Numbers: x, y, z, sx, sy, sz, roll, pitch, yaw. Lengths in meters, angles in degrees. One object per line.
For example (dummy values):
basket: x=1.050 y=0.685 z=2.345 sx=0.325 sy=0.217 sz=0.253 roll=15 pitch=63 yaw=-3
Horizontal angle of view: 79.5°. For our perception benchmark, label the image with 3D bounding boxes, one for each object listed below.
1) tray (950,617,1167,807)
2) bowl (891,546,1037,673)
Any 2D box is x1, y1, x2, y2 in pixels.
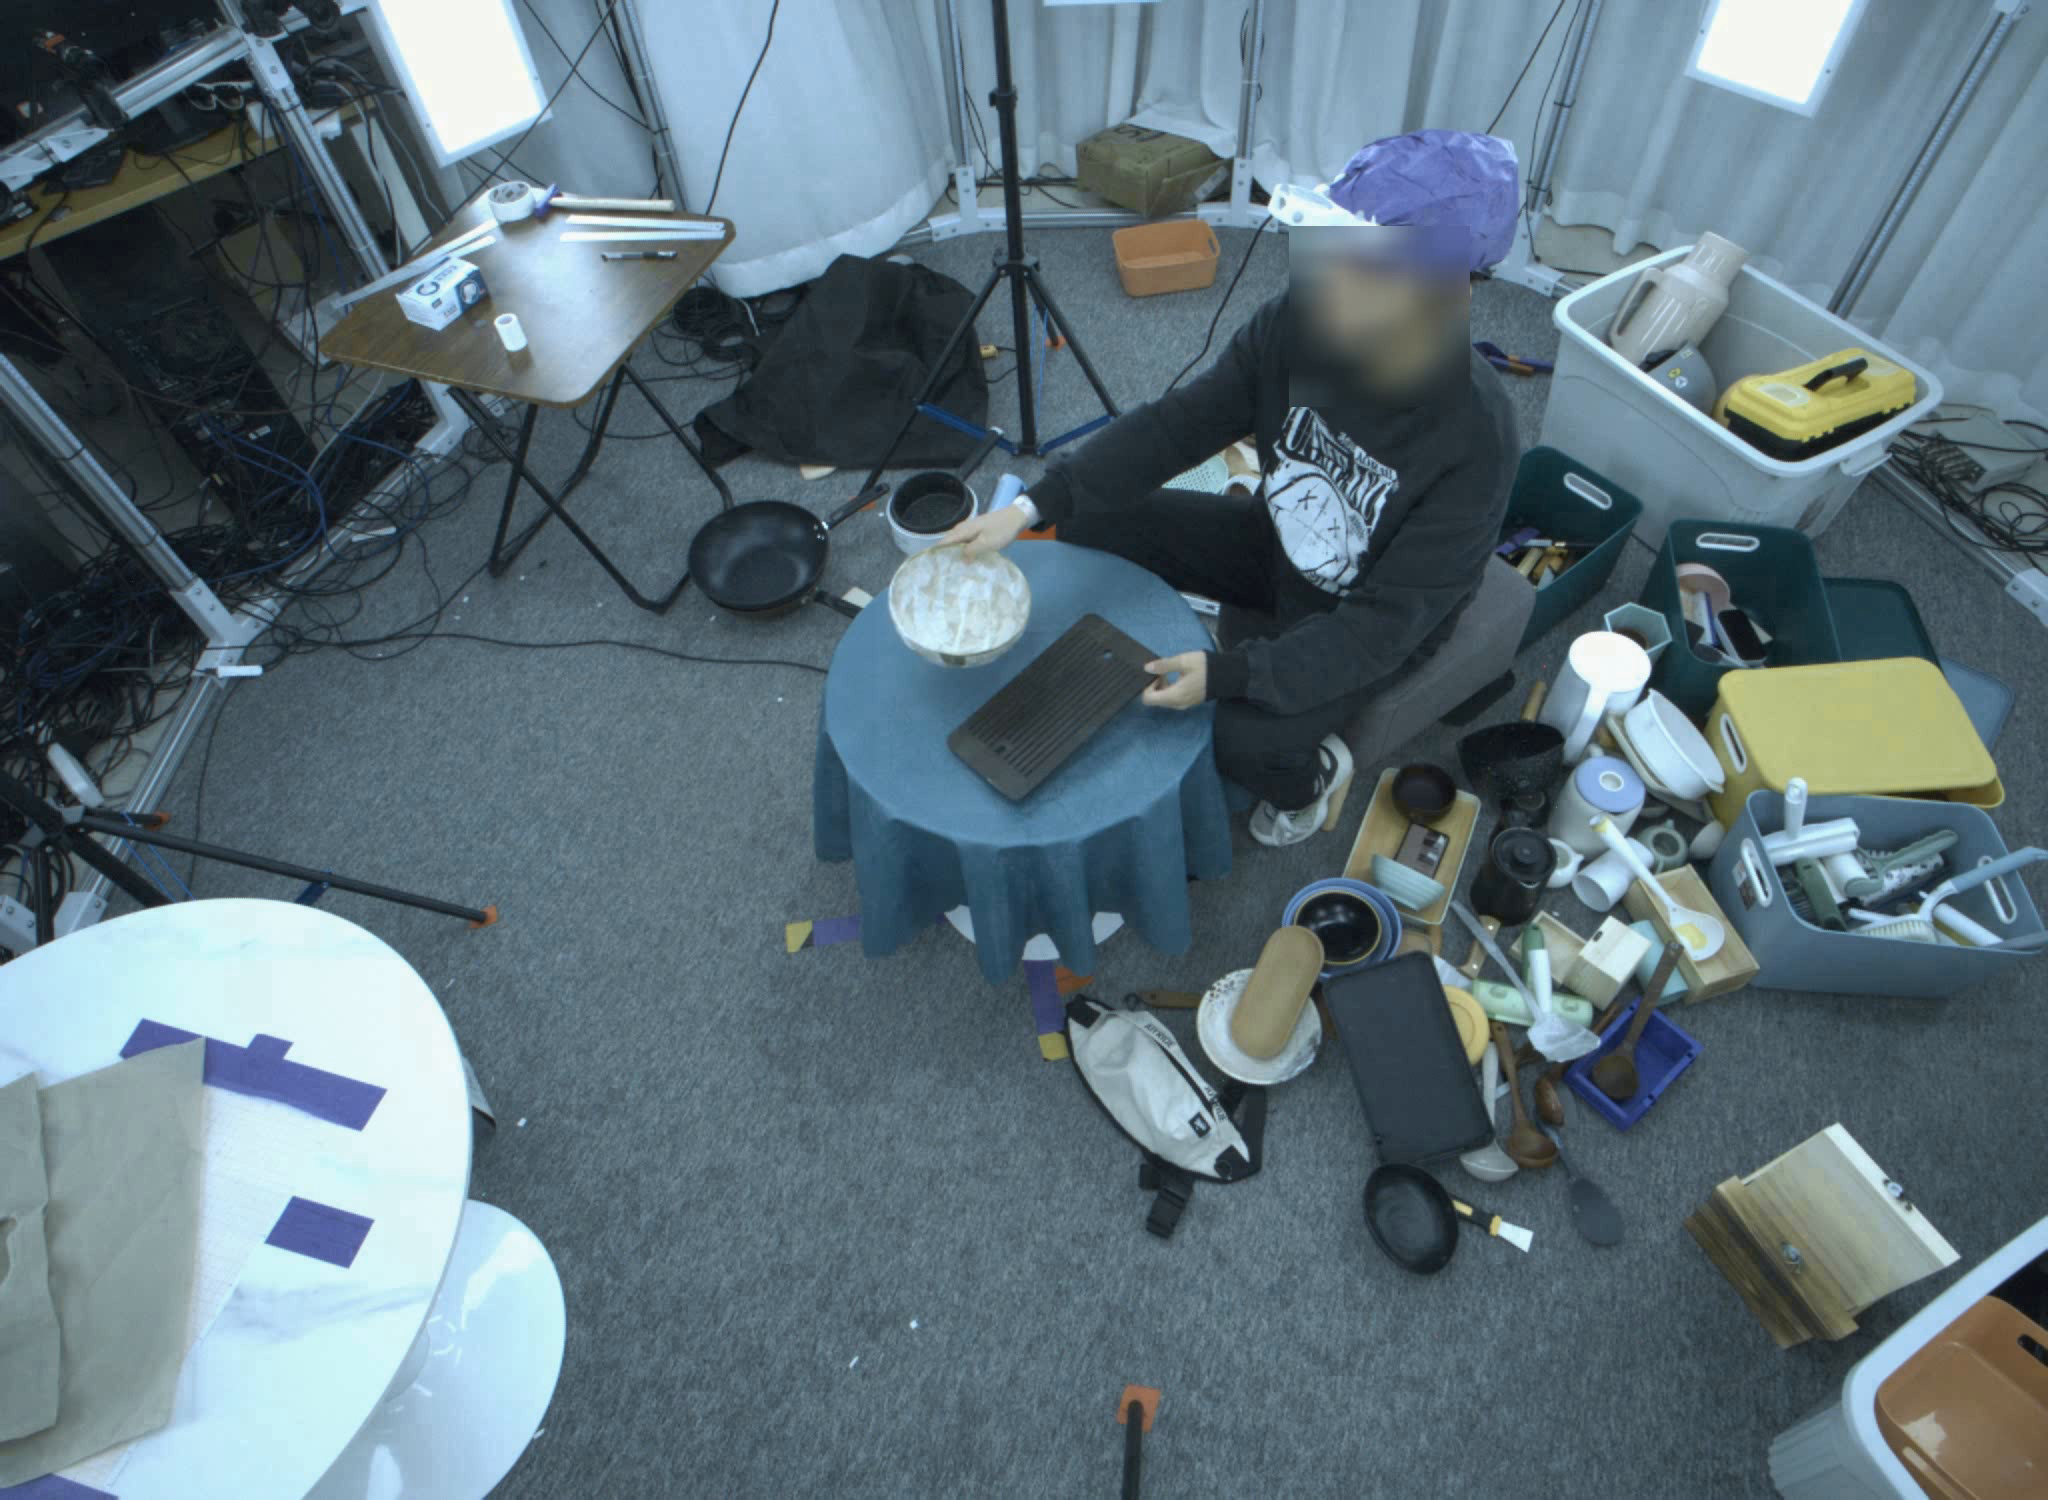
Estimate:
tray: x=0.051 y=-0.059 z=1.790 sx=0.307 sy=0.019 sz=0.166 roll=-42 pitch=57 yaw=-14
bowl: x=-0.087 y=-0.187 z=1.775 sx=0.215 sy=0.095 sz=0.212 roll=4 pitch=59 yaw=-5
